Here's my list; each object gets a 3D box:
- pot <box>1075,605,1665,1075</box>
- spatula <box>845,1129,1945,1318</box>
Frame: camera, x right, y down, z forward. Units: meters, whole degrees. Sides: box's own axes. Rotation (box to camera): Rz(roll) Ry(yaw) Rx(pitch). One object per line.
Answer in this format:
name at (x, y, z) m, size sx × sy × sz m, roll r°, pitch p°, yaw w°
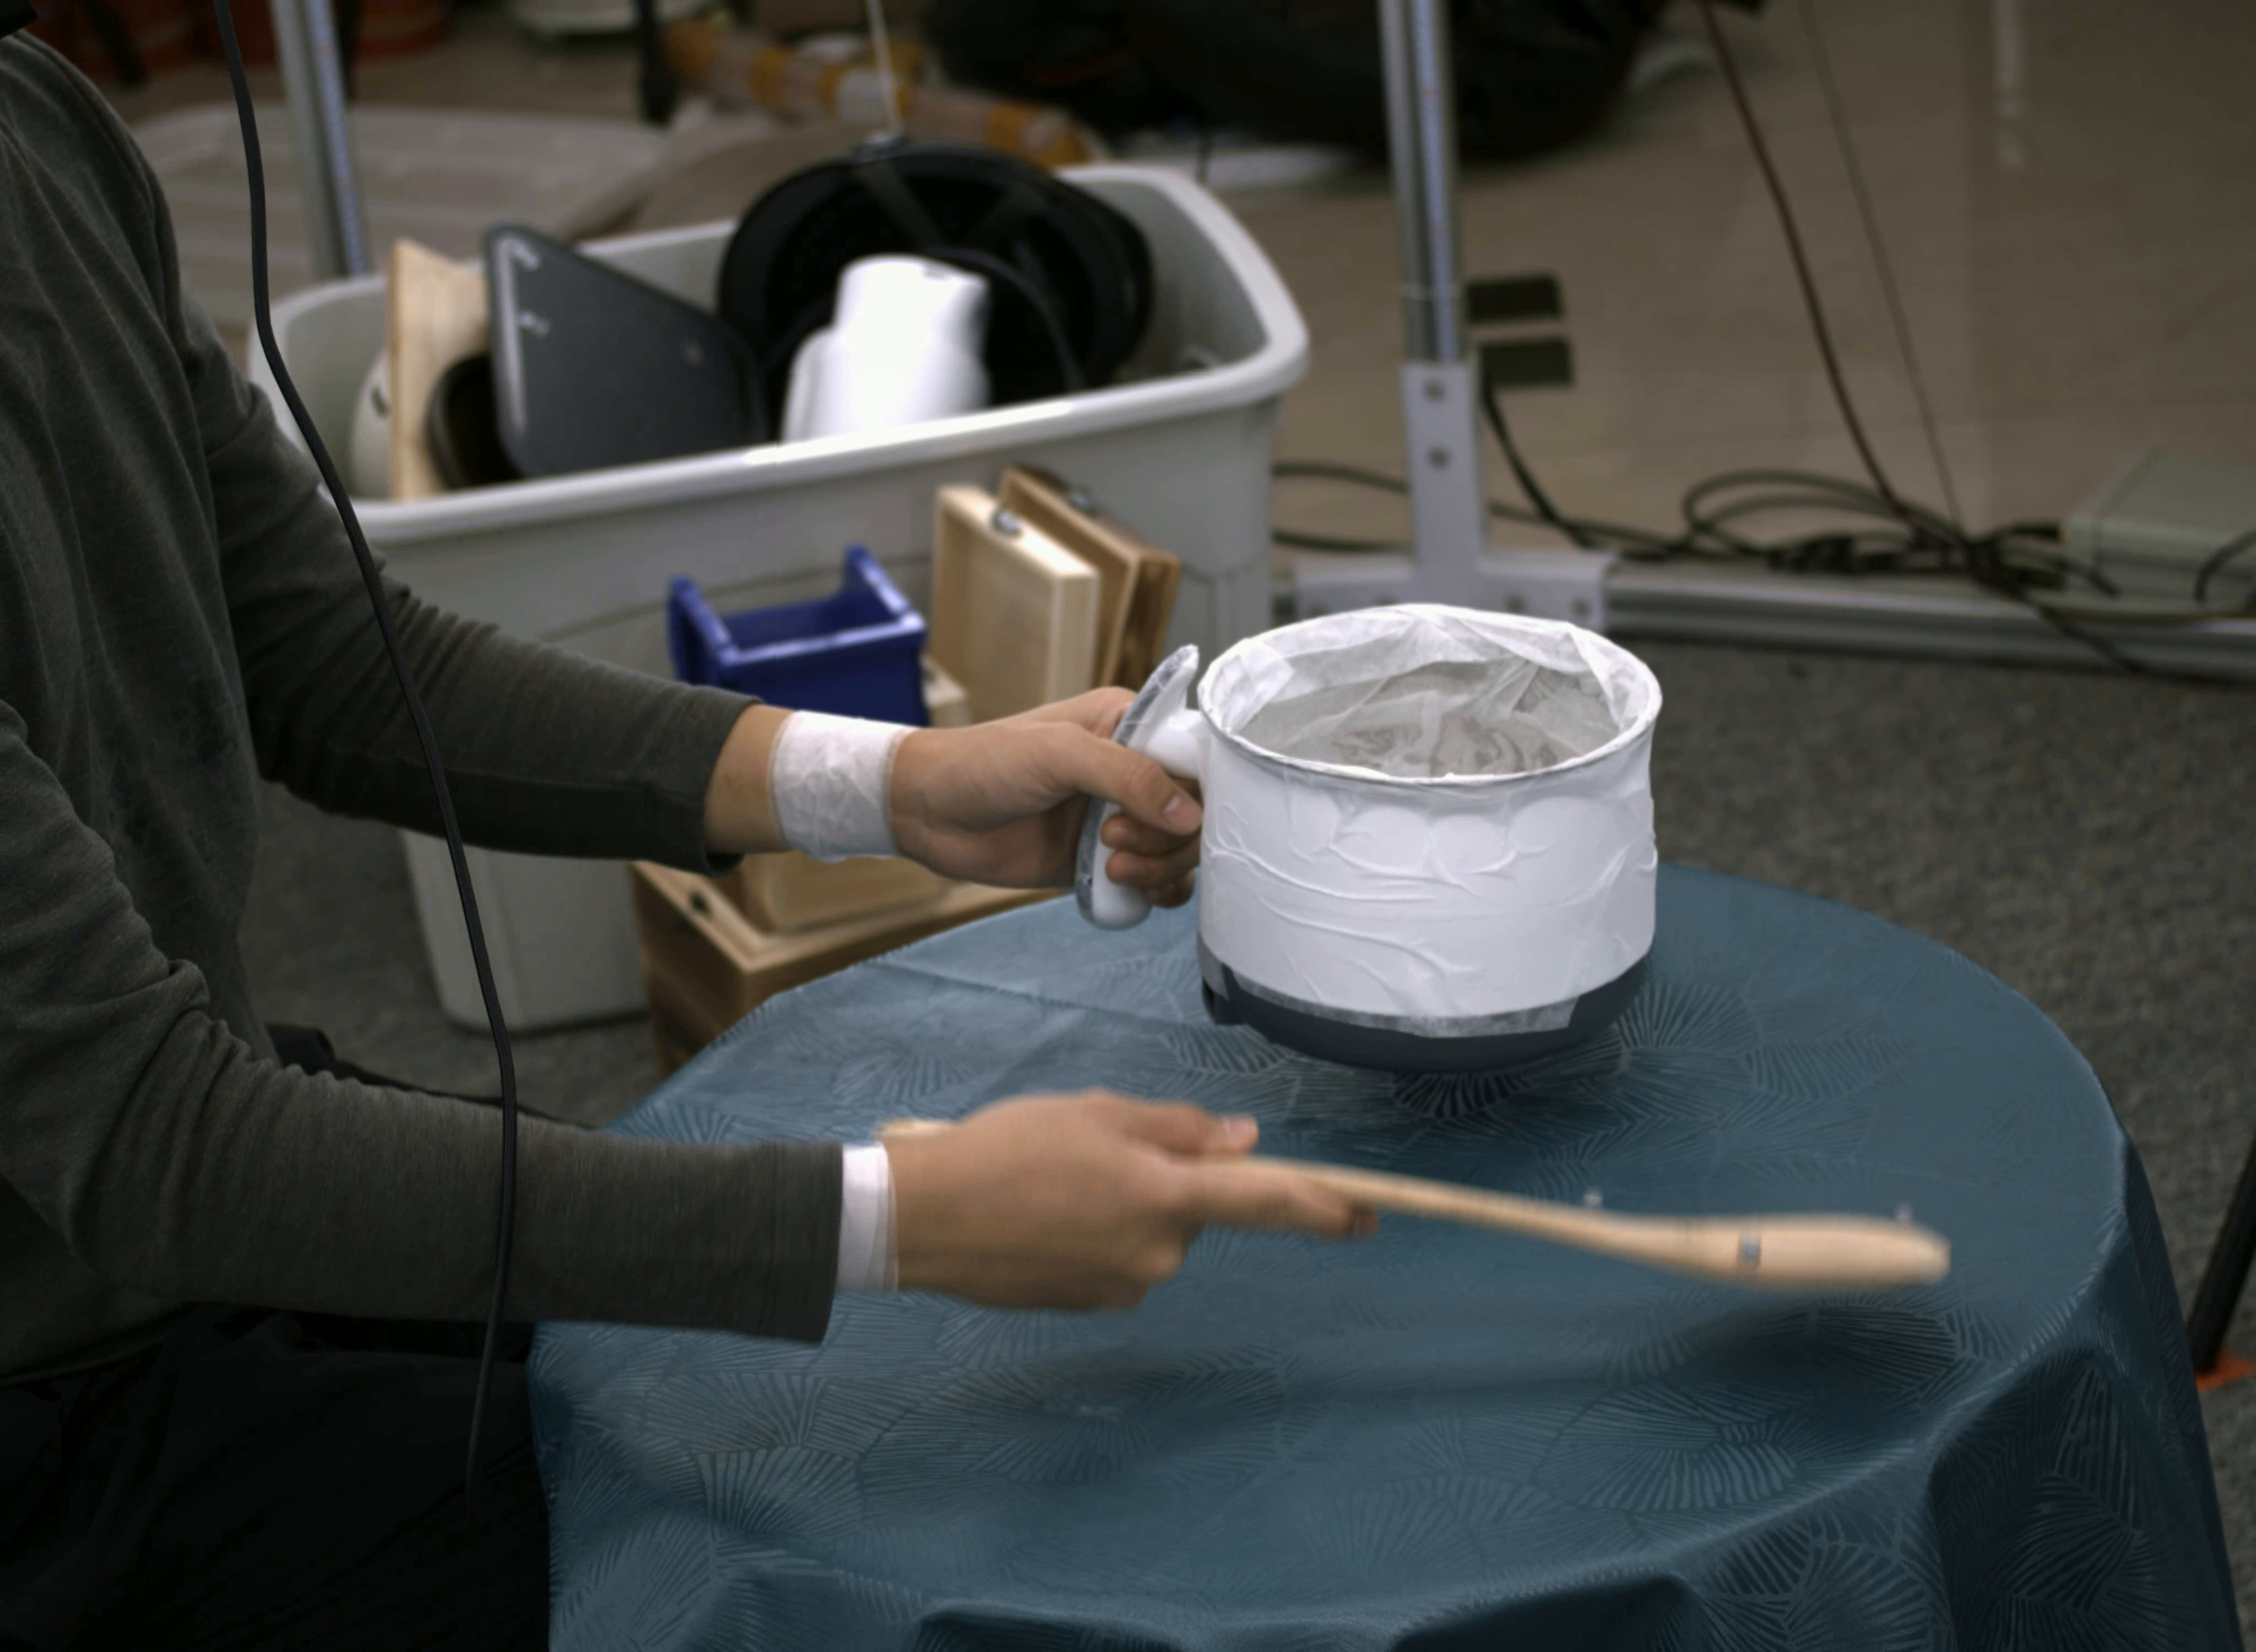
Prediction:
pot at (0.090, 0.002, 2.190) m, size 0.233 × 0.139 × 0.176 m, roll 8°, pitch 25°, yaw 19°
spatula at (0.090, 0.138, 1.991) m, size 0.390 × 0.018 × 0.095 m, roll 9°, pitch 6°, yaw 7°
